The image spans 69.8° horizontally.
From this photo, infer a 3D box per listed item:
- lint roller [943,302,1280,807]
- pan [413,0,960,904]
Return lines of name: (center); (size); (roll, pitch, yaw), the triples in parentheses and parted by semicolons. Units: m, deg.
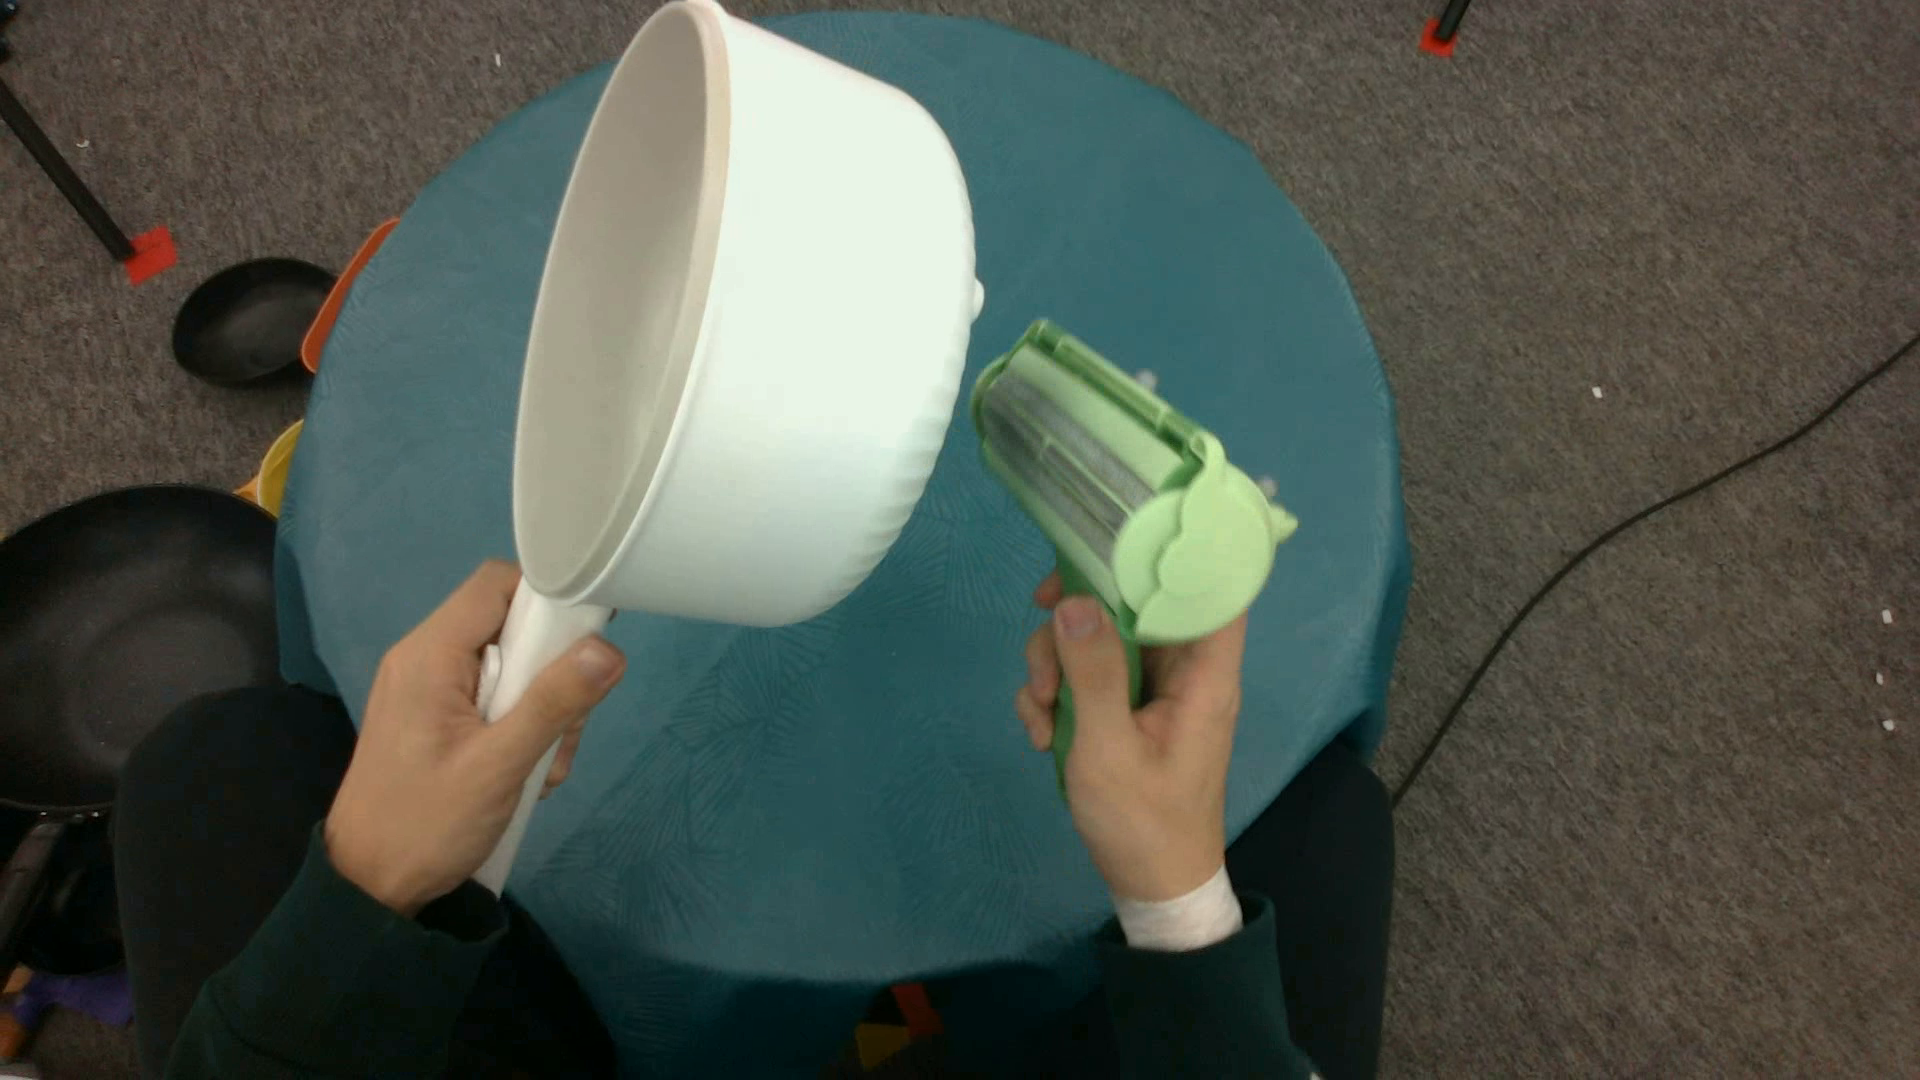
lint roller: (0.060, 0.015, 0.520); (0.082, 0.183, 0.199); (-17, 24, -10)
pan: (-0.112, -0.008, 0.508); (0.102, 0.353, 0.201); (10, 26, -30)
